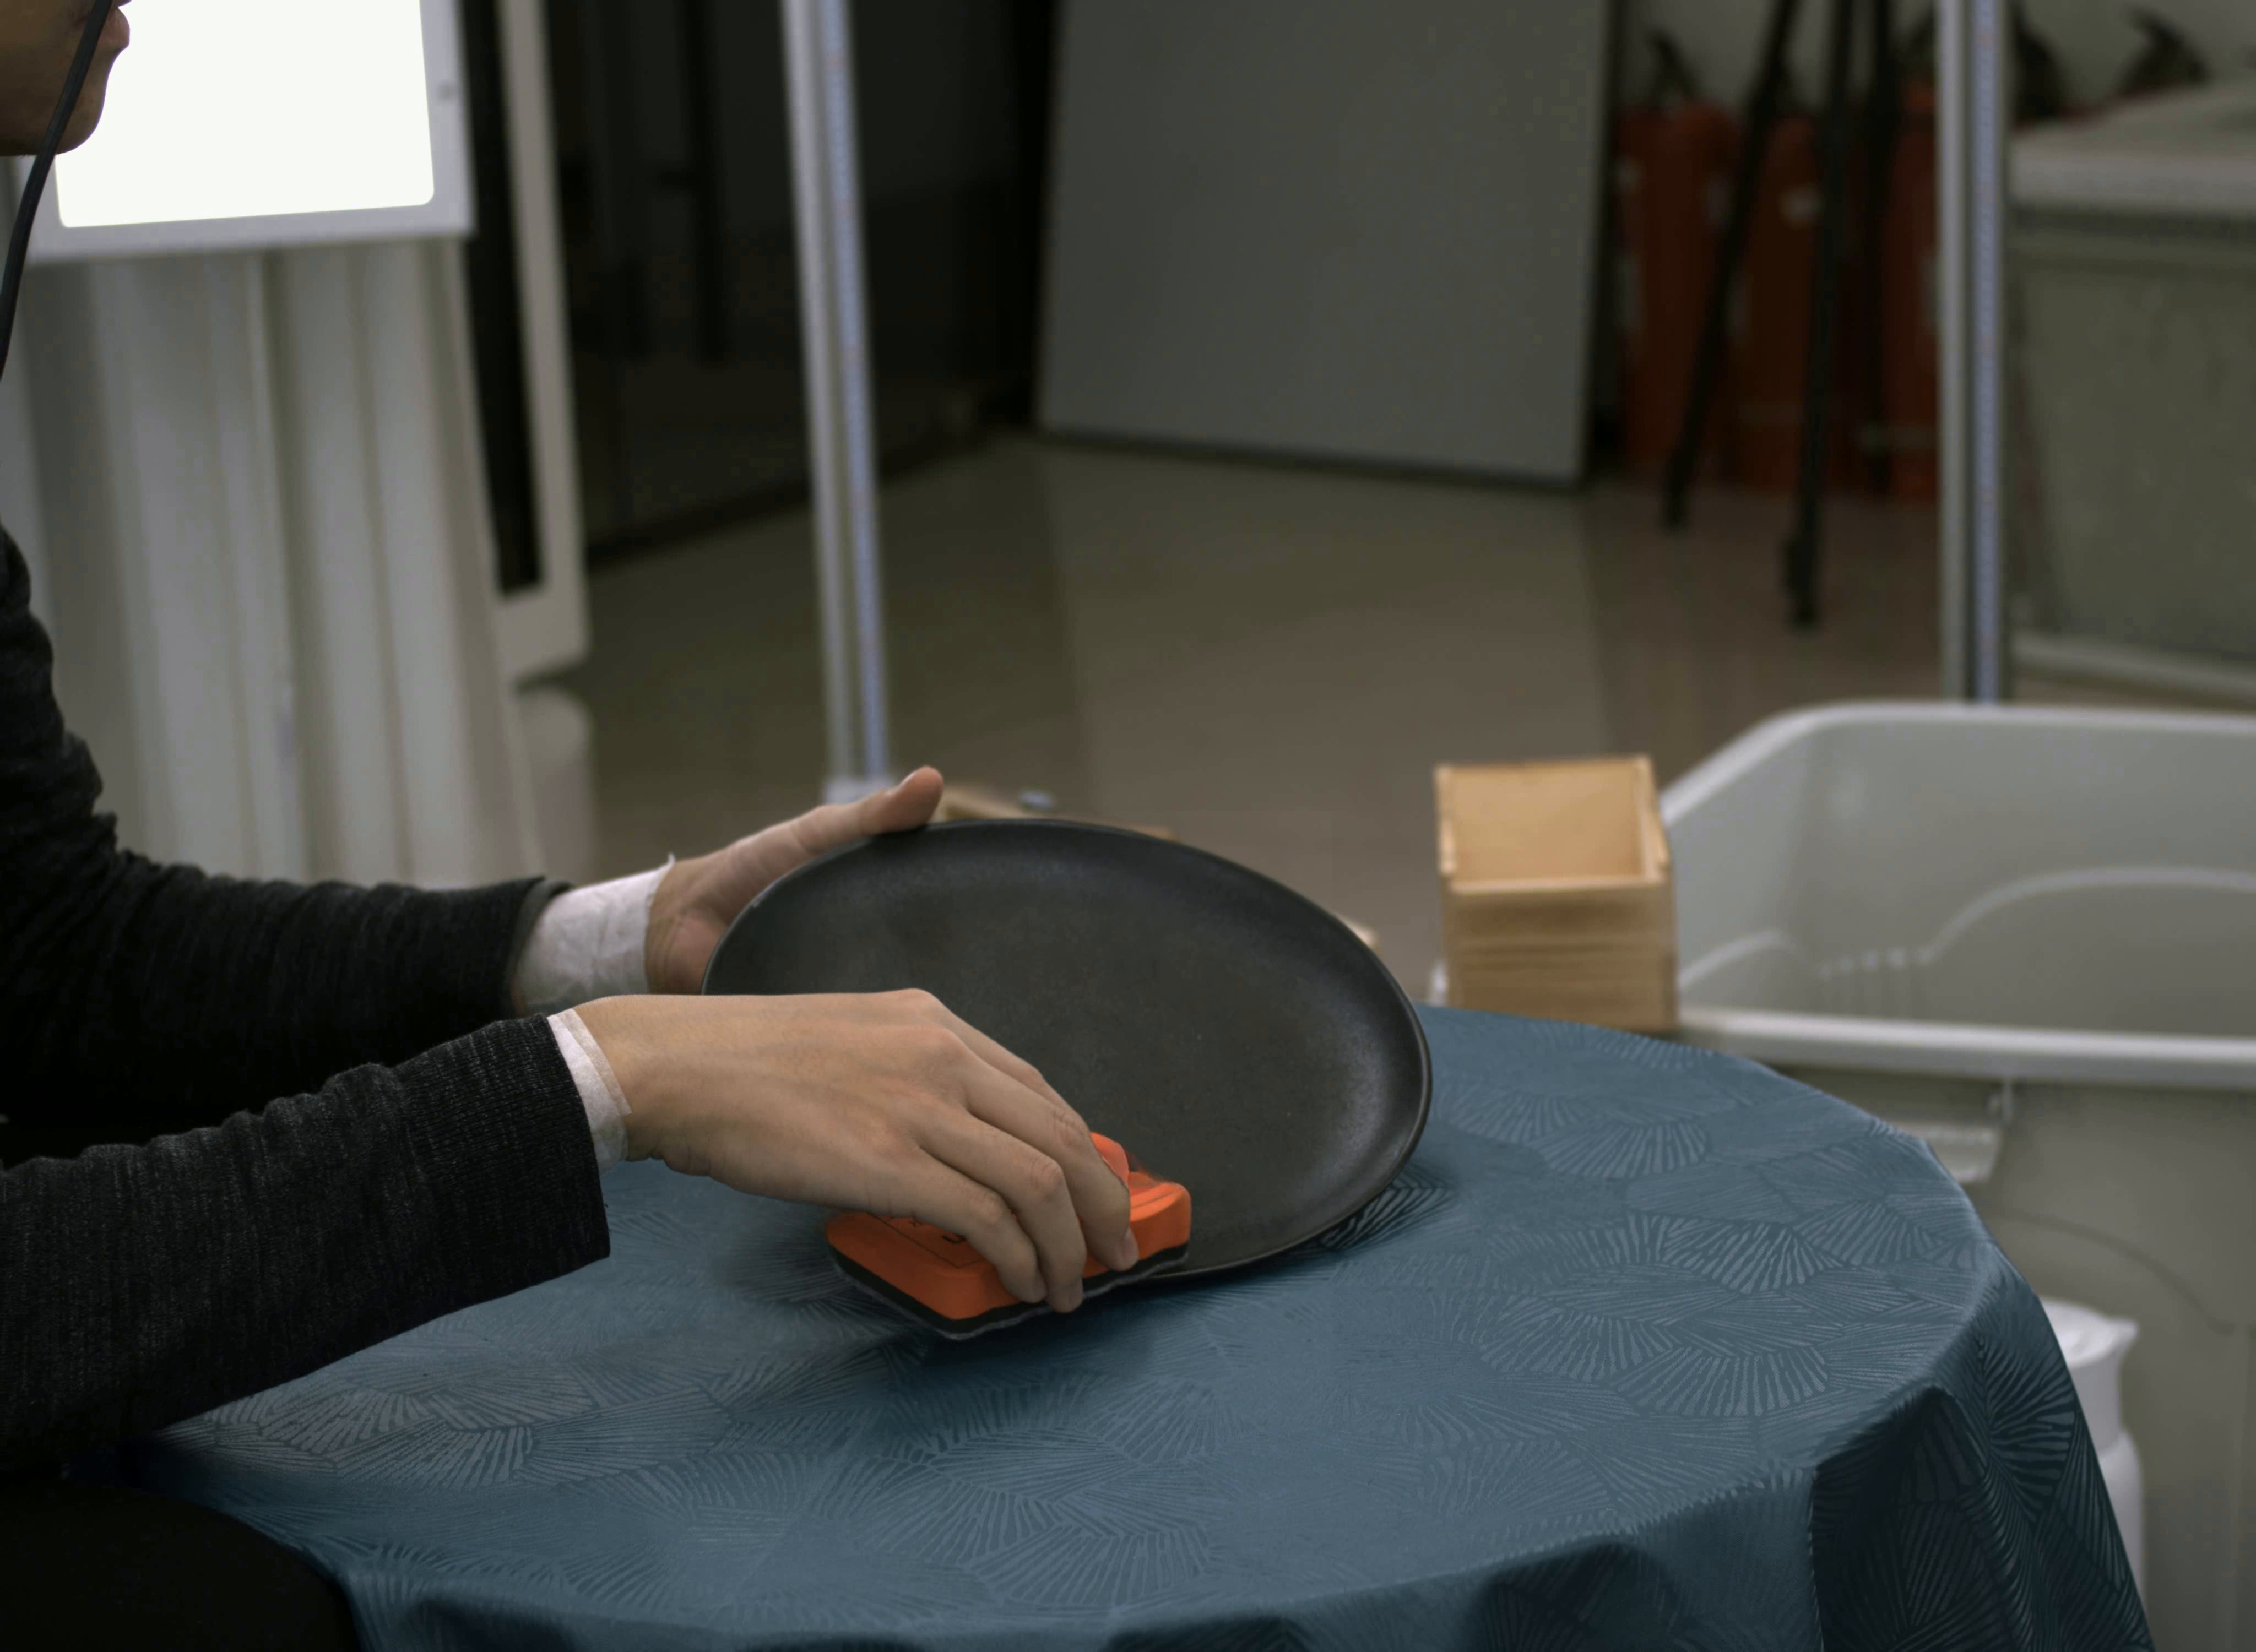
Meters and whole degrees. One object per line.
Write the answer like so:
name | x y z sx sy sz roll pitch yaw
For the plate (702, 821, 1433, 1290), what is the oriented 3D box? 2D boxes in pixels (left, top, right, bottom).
plate | -0.020 0.077 1.763 0.241 0.023 0.246 4 35 -4

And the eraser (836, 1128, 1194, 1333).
eraser | -0.034 0.123 1.658 0.106 0.023 0.059 -14 30 -41
